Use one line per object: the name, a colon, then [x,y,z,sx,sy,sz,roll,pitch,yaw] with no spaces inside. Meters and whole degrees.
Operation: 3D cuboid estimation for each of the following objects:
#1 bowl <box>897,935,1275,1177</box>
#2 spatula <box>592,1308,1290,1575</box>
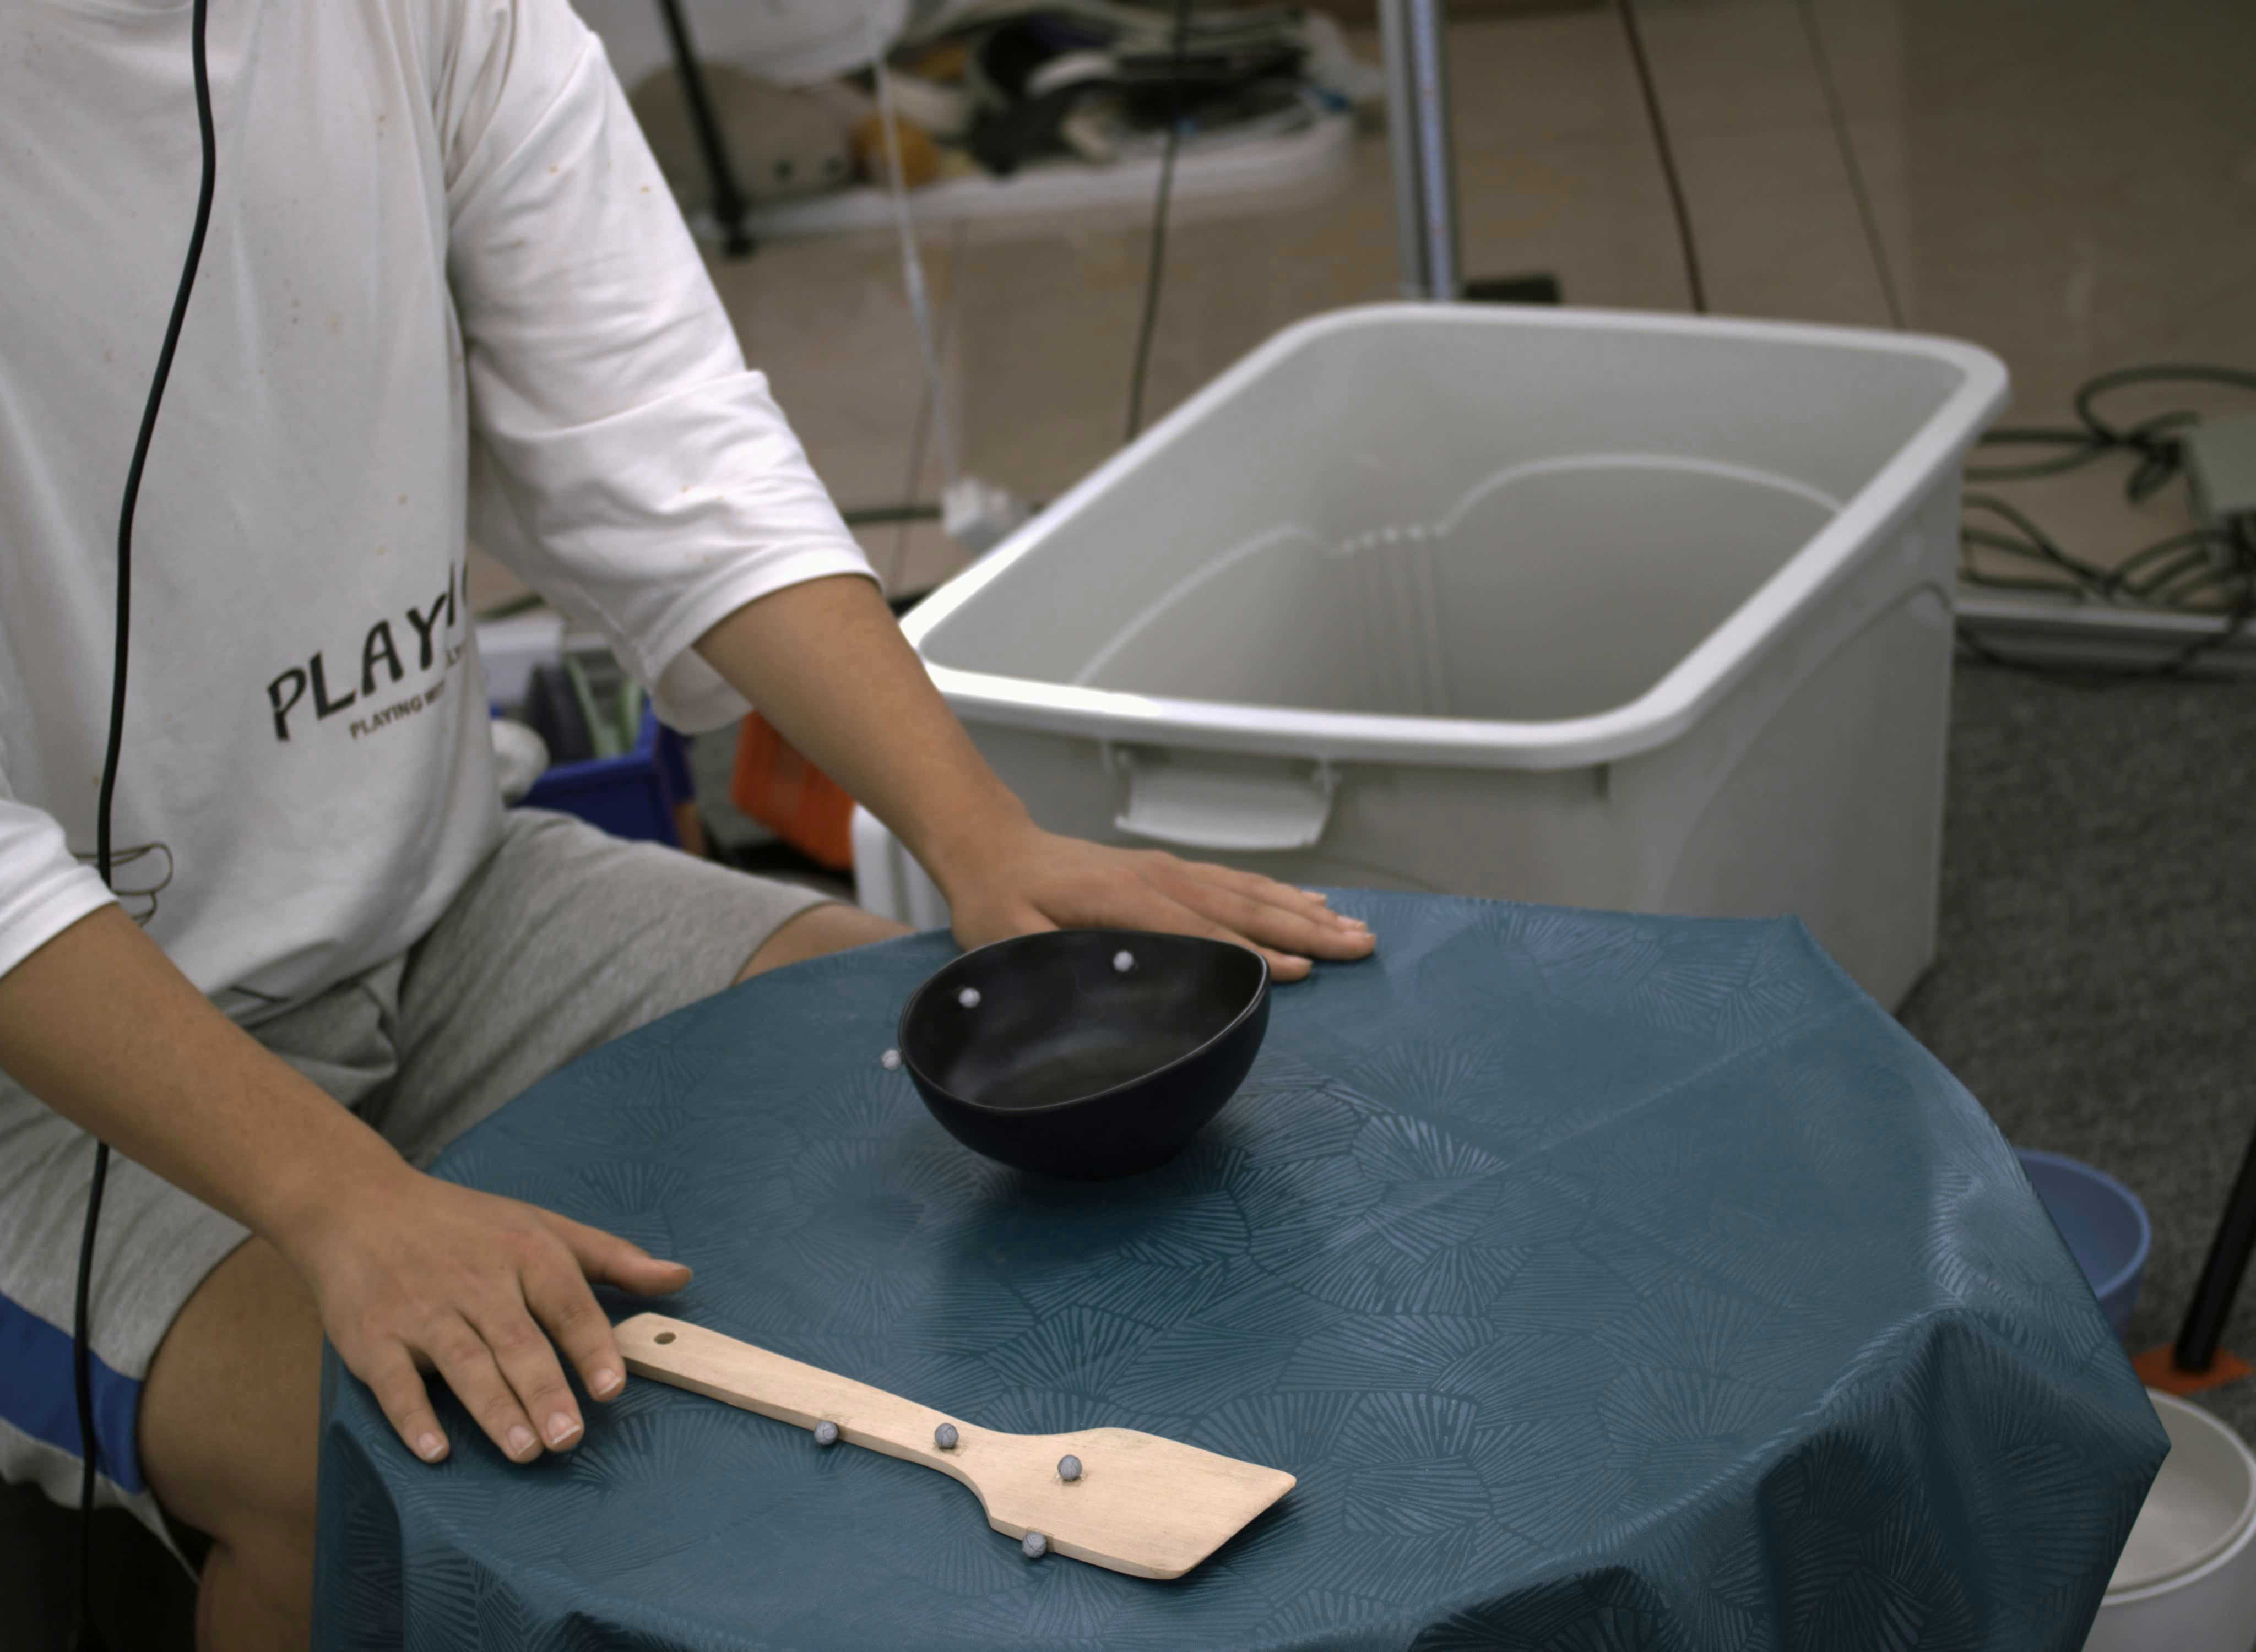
bowl: [-0.013,0.092,2.174,0.137,0.068,0.168,6,26,26]
spatula: [-0.078,0.211,1.997,0.291,0.011,0.071,13,32,36]
